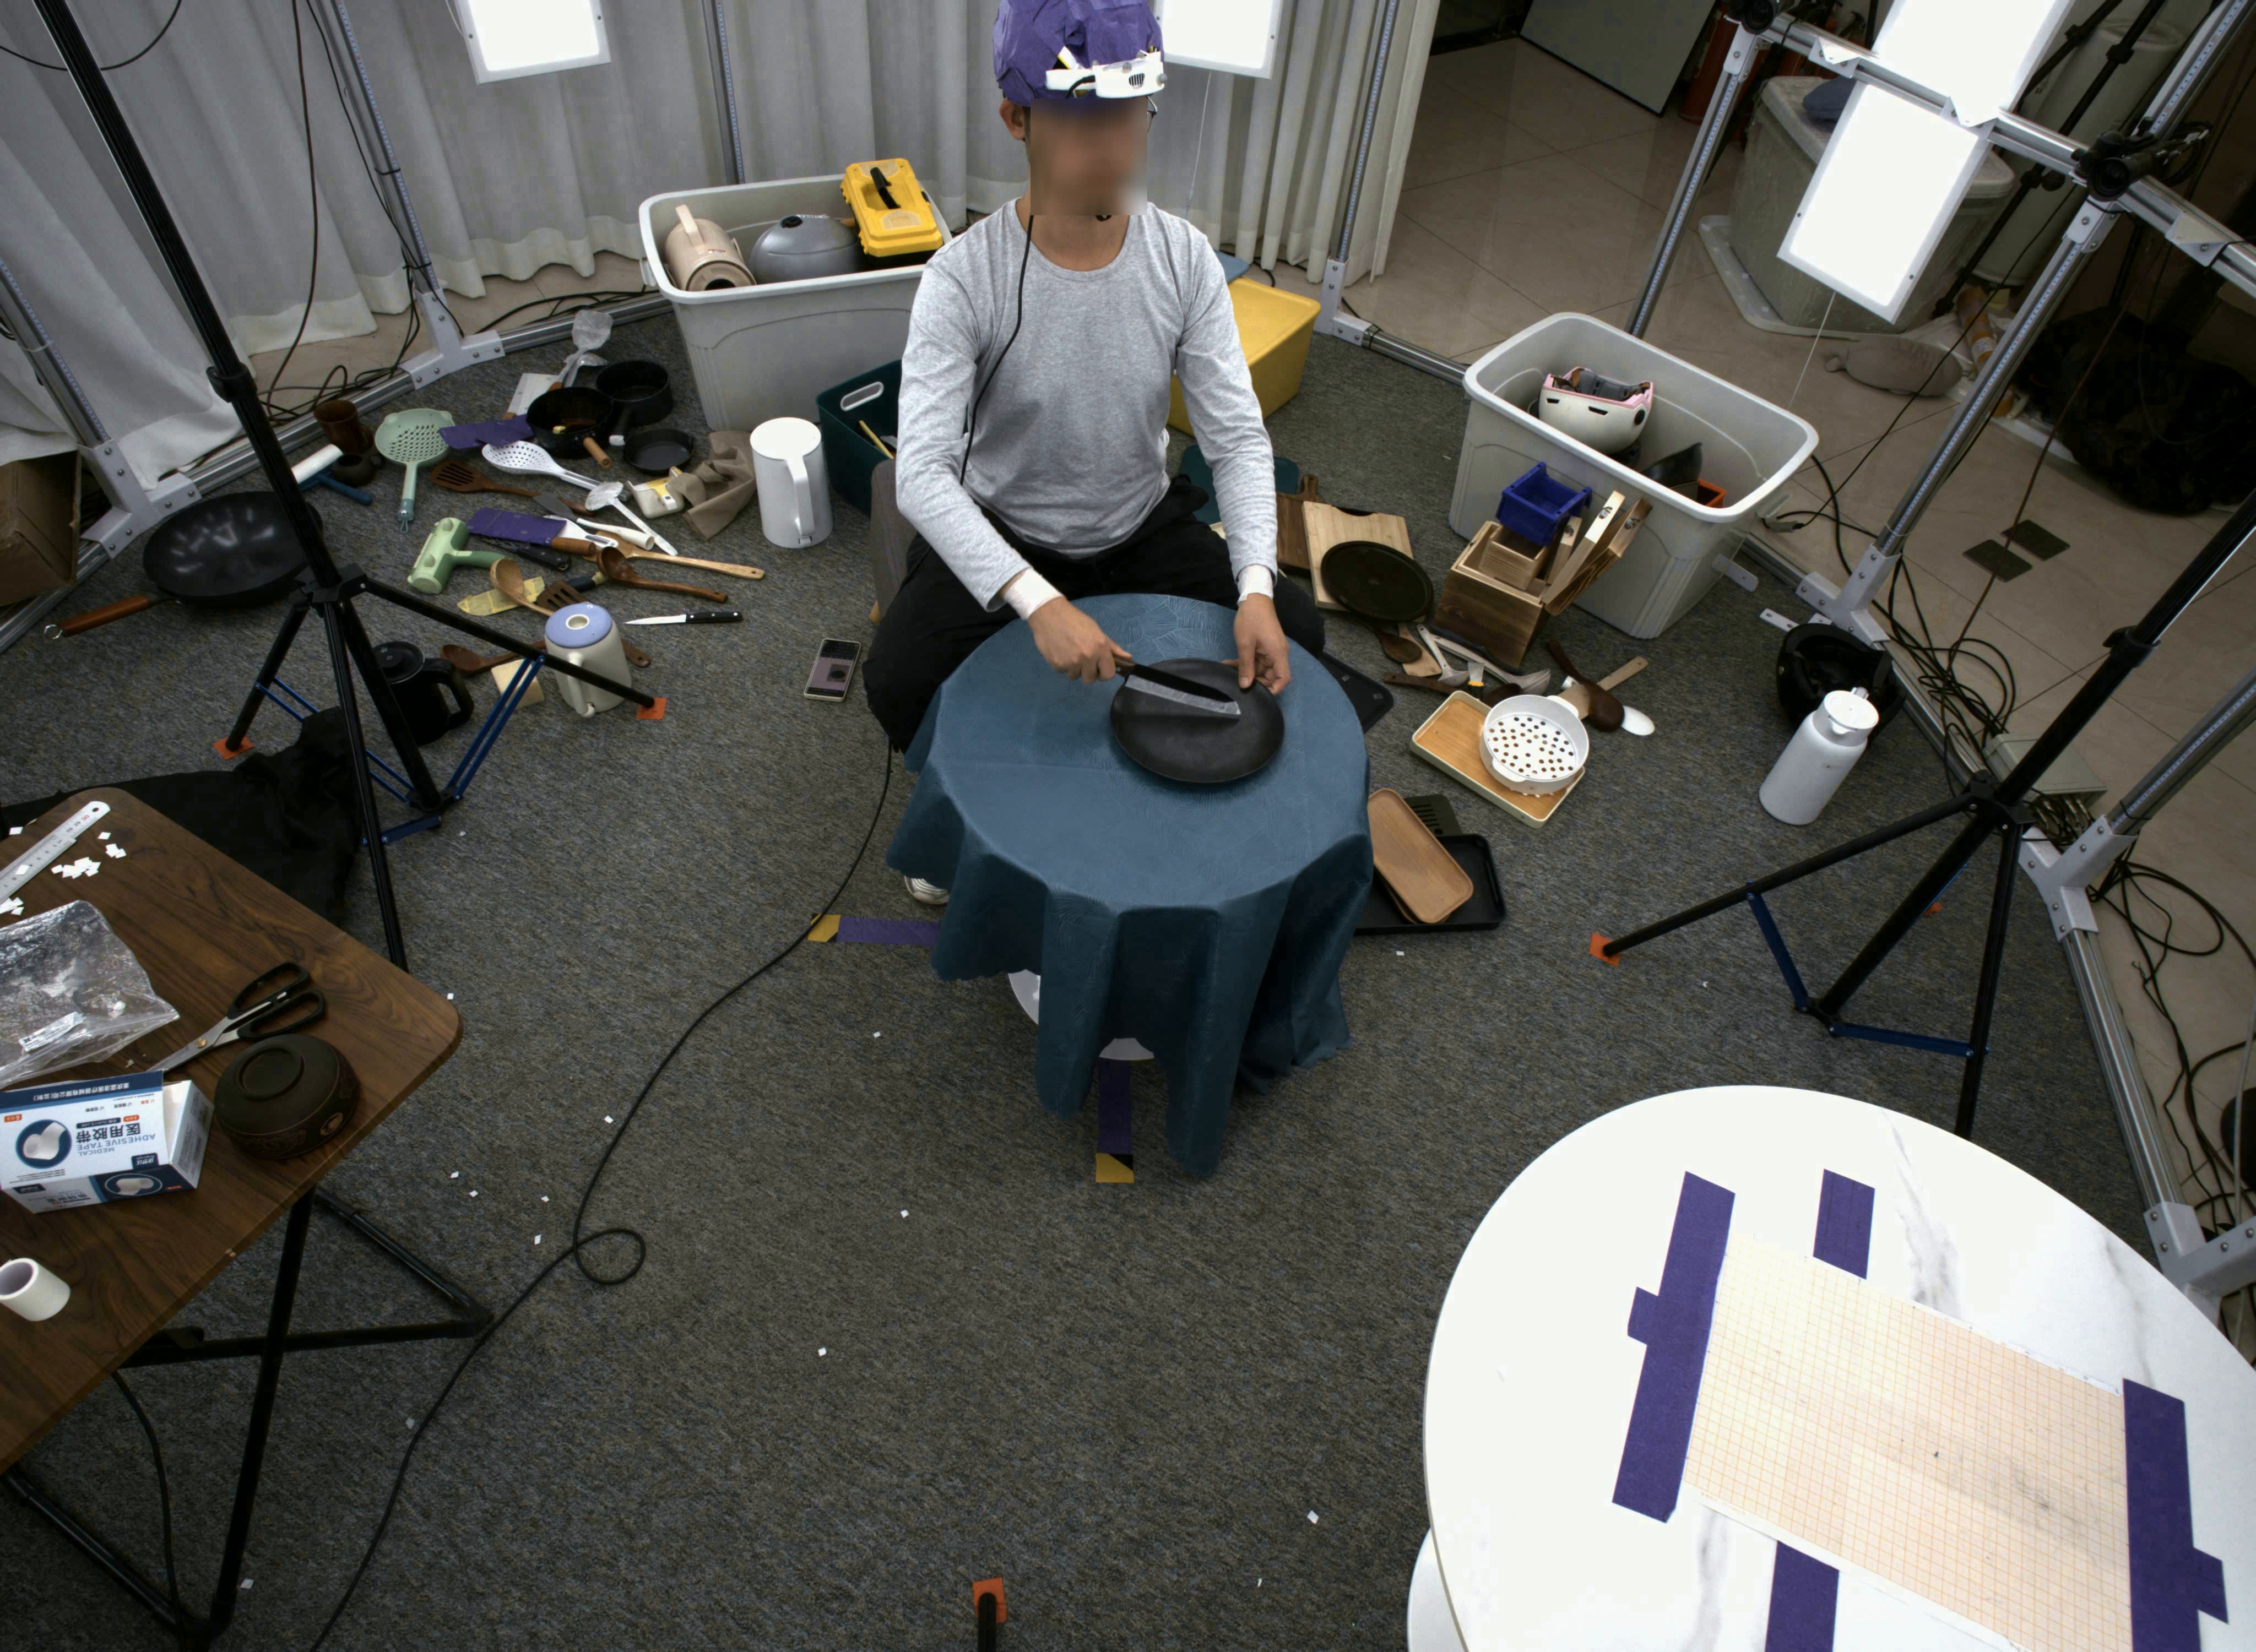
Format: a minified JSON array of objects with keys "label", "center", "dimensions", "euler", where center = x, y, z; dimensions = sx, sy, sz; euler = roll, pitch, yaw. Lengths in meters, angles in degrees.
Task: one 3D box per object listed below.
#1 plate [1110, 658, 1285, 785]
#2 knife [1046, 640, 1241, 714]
[{"label":"plate","center":[0.096,-0.144,1.783],"dimensions":[0.244,0.023,0.250],"euler":[2,49,-2]},{"label":"knife","center":[0.023,-0.204,1.774],"dimensions":[0.288,0.049,0.020],"euler":[18,47,-7]}]
